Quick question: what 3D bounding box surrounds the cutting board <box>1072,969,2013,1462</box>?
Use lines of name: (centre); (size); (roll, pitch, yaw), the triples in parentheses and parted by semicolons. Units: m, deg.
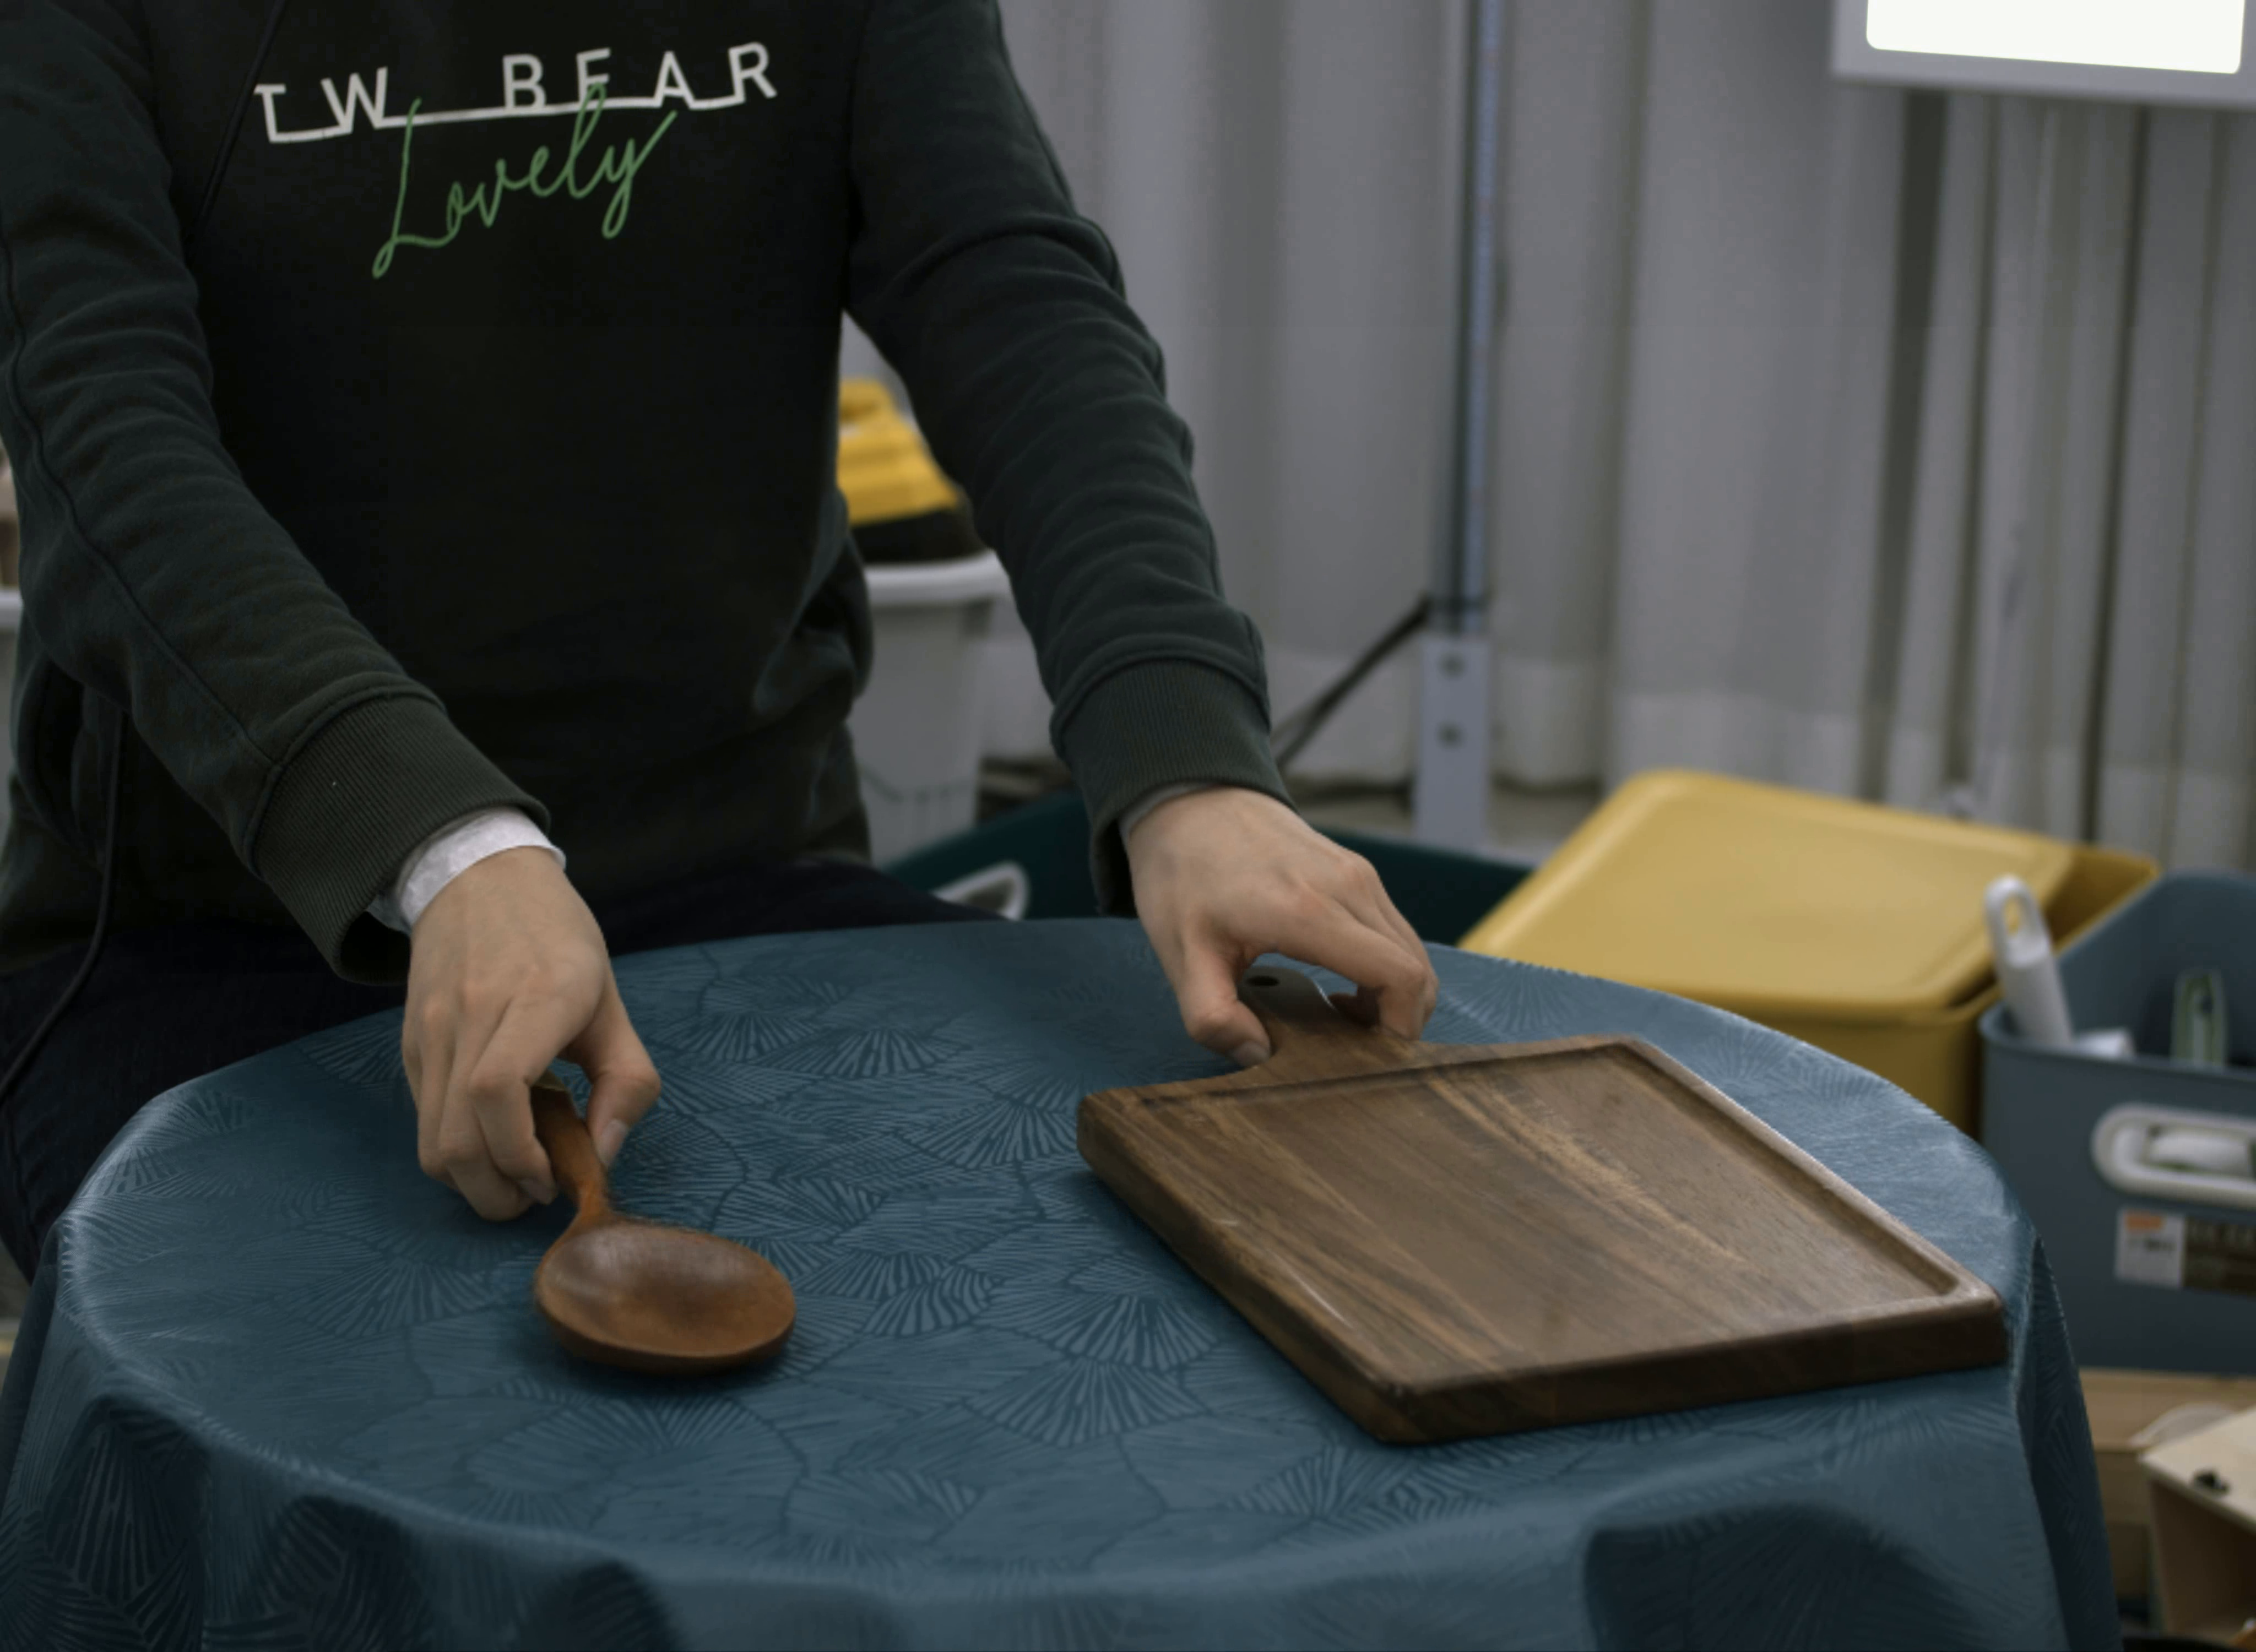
cutting board: (0.100, 0.106, 1.608); (0.201, 0.023, 0.348); (-6, 18, -20)

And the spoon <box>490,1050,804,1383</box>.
spoon: (-0.152, 0.115, 1.549); (0.075, 0.017, 0.213); (-5, 24, -19)
